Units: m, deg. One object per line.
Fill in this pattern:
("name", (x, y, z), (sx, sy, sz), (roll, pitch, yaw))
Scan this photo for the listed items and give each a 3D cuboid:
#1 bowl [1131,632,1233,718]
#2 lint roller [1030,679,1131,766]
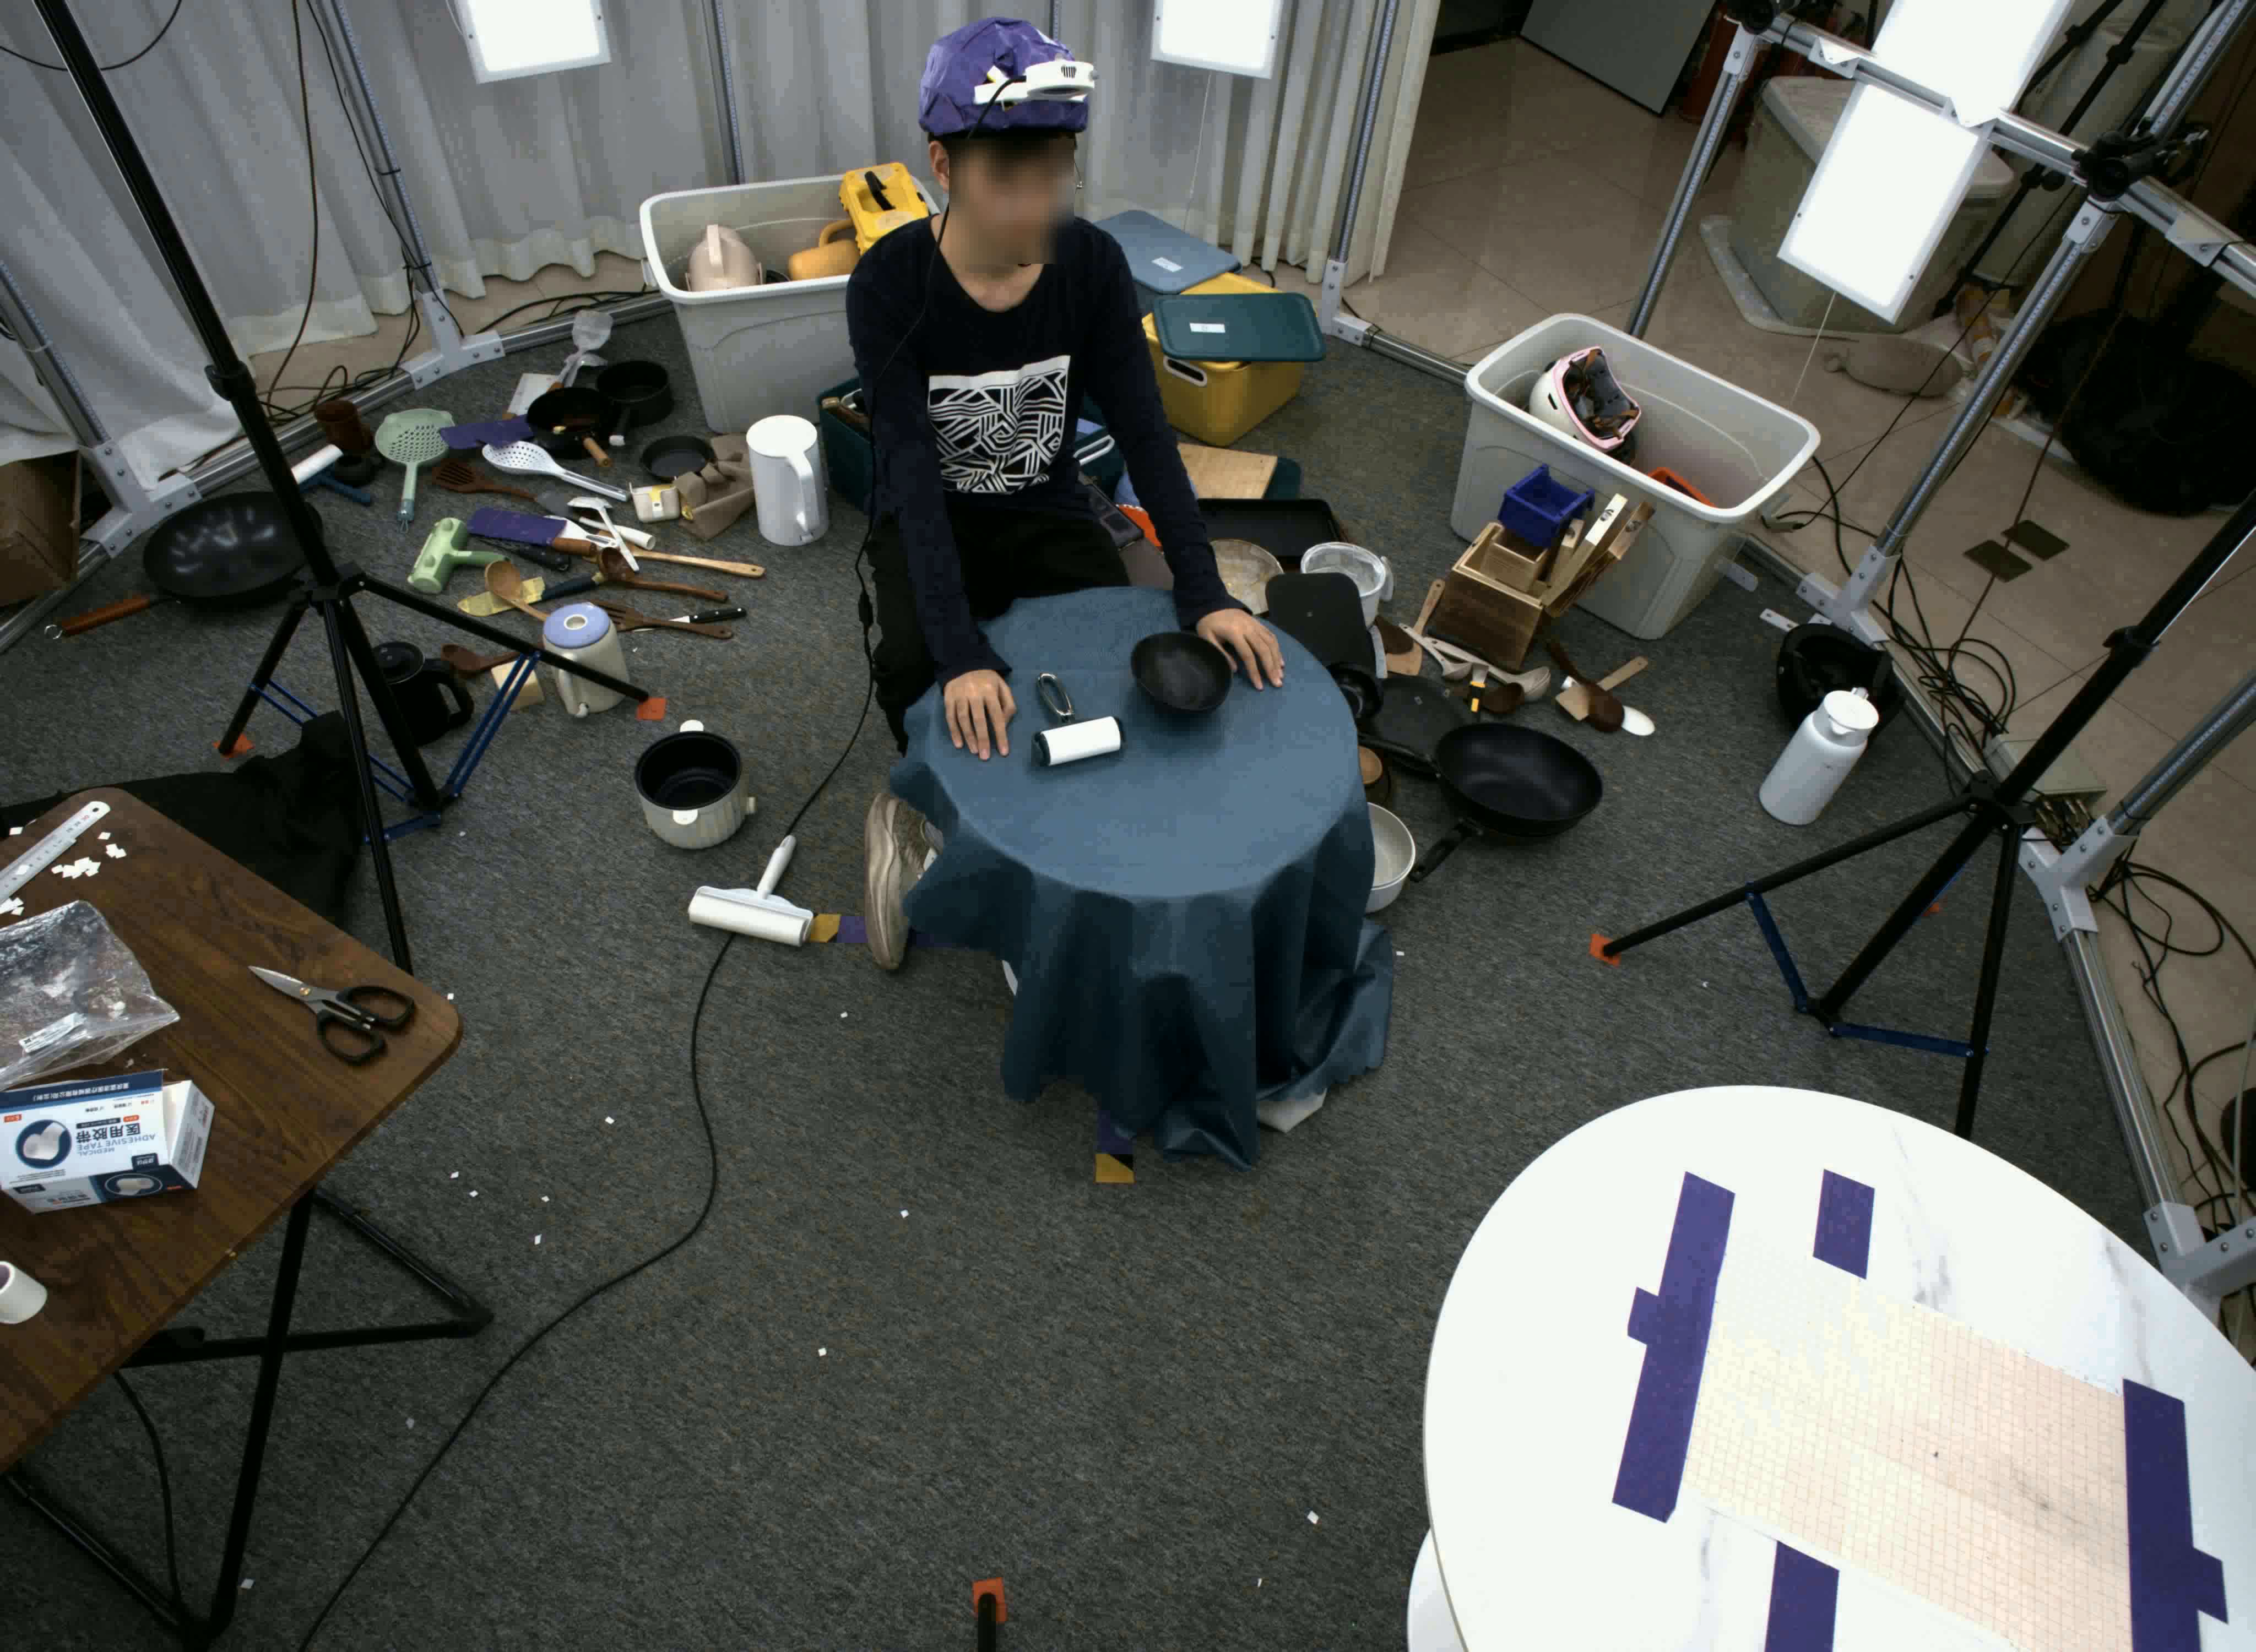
("bowl", (0.072, -0.205, 1.808), (0.137, 0.065, 0.174), (-14, 50, -16))
("lint roller", (-0.089, -0.162, 1.776), (0.134, 0.047, 0.184), (-14, 48, -16))
